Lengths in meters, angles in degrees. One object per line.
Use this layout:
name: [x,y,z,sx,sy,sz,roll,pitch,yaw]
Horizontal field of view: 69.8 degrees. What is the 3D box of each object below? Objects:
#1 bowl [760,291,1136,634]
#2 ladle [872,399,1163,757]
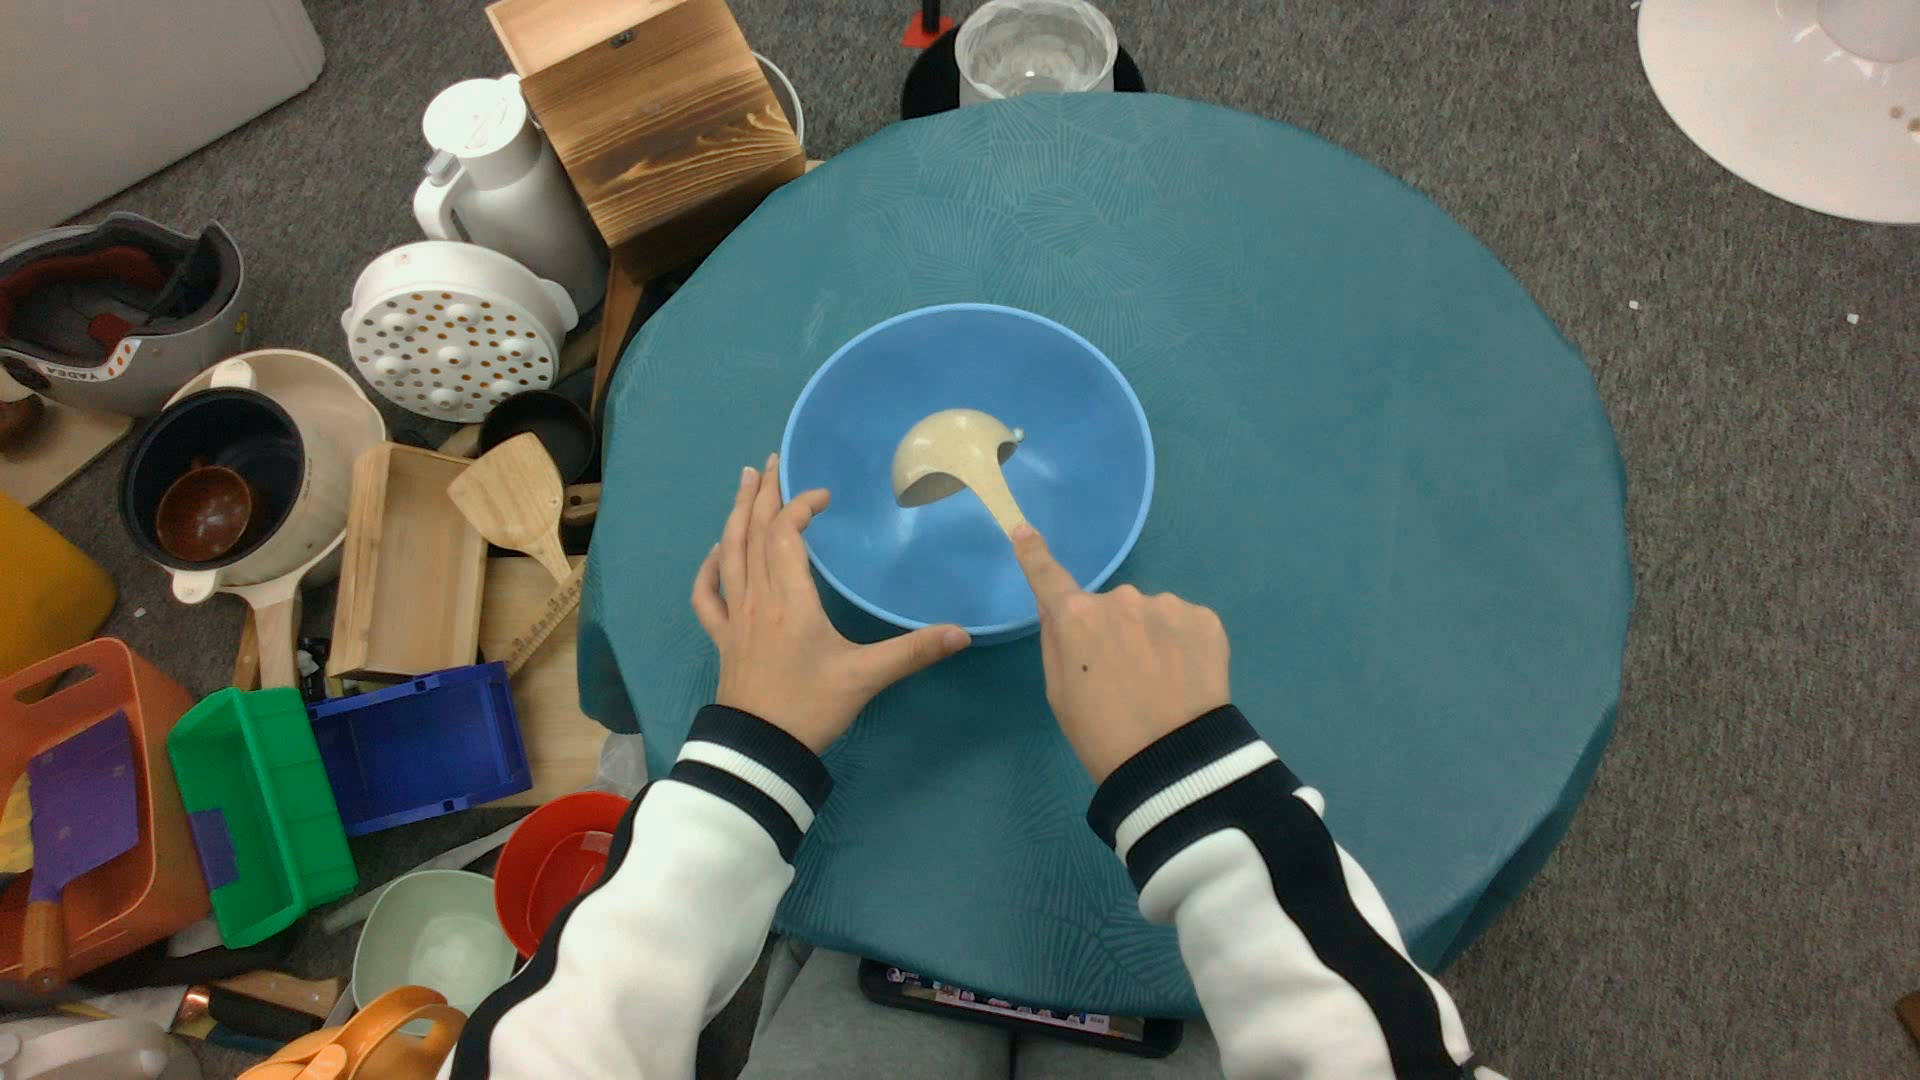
bowl: [-0.007,-0.030,0.759,0.196,0.095,0.197,1,65,-1]
ladle: [0.030,0.025,0.679,0.072,0.072,0.255,-22,52,-13]
